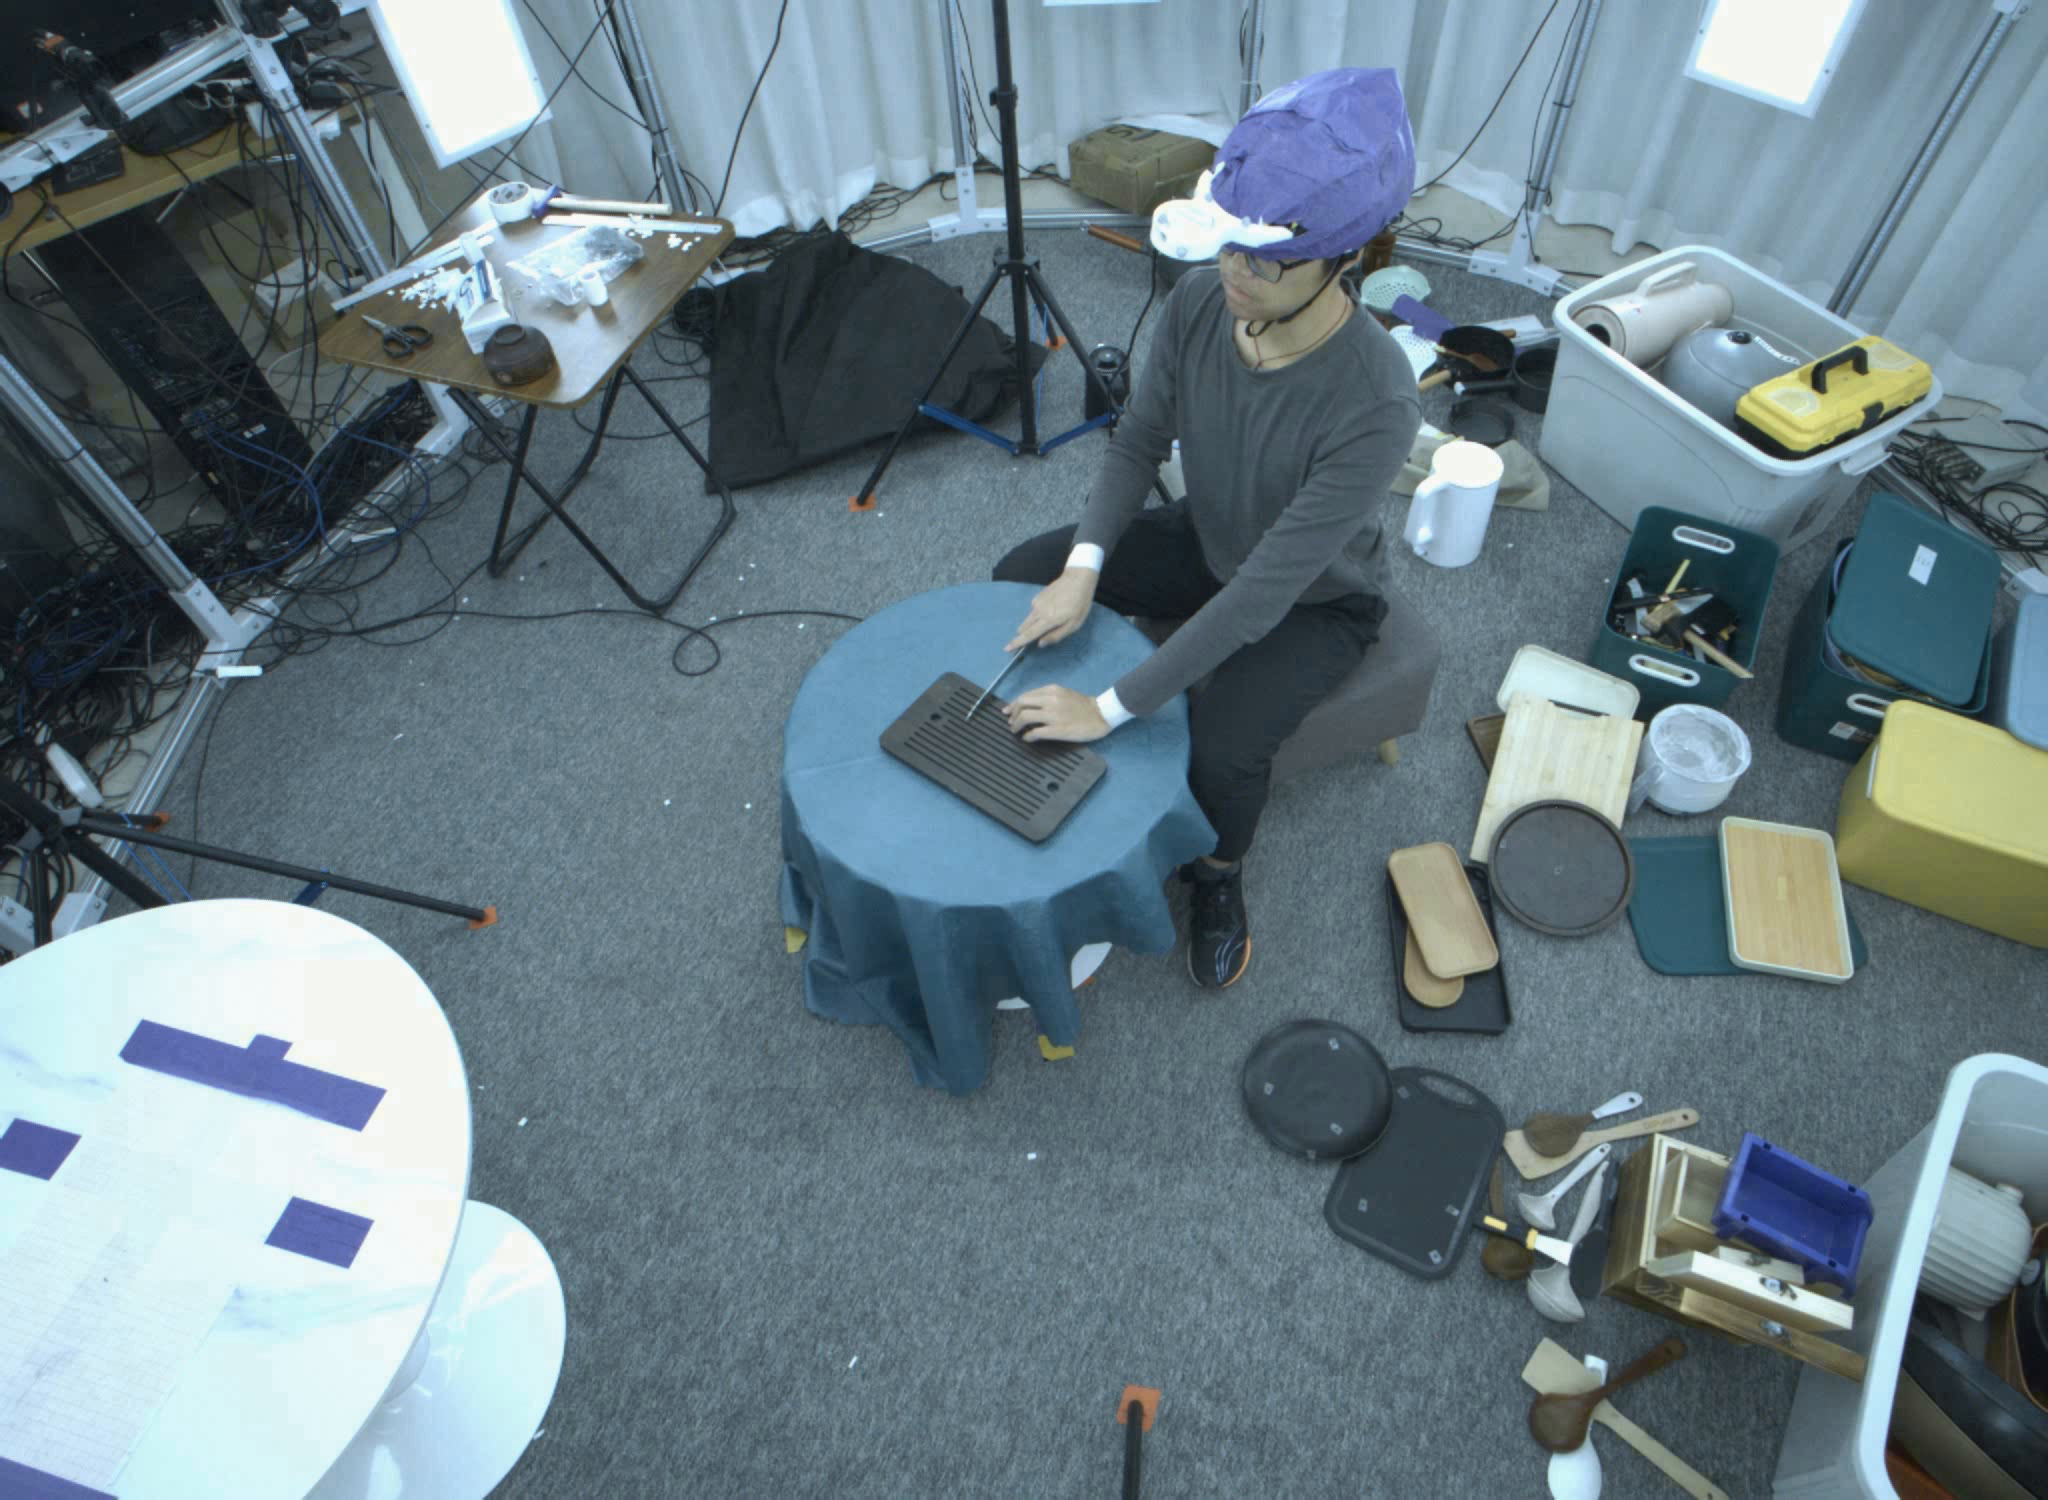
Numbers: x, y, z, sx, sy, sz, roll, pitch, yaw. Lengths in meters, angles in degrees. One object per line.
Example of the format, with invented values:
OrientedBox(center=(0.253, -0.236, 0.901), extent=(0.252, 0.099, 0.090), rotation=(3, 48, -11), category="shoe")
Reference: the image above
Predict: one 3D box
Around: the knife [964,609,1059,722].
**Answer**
OrientedBox(center=(-0.019, -0.129, 1.845), extent=(0.016, 0.024, 0.239), rotation=(33, 68, 14), category="knife")

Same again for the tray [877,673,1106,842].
OrientedBox(center=(-0.048, 0.007, 1.780), extent=(0.301, 0.019, 0.171), rotation=(31, 60, 21), category="tray")
